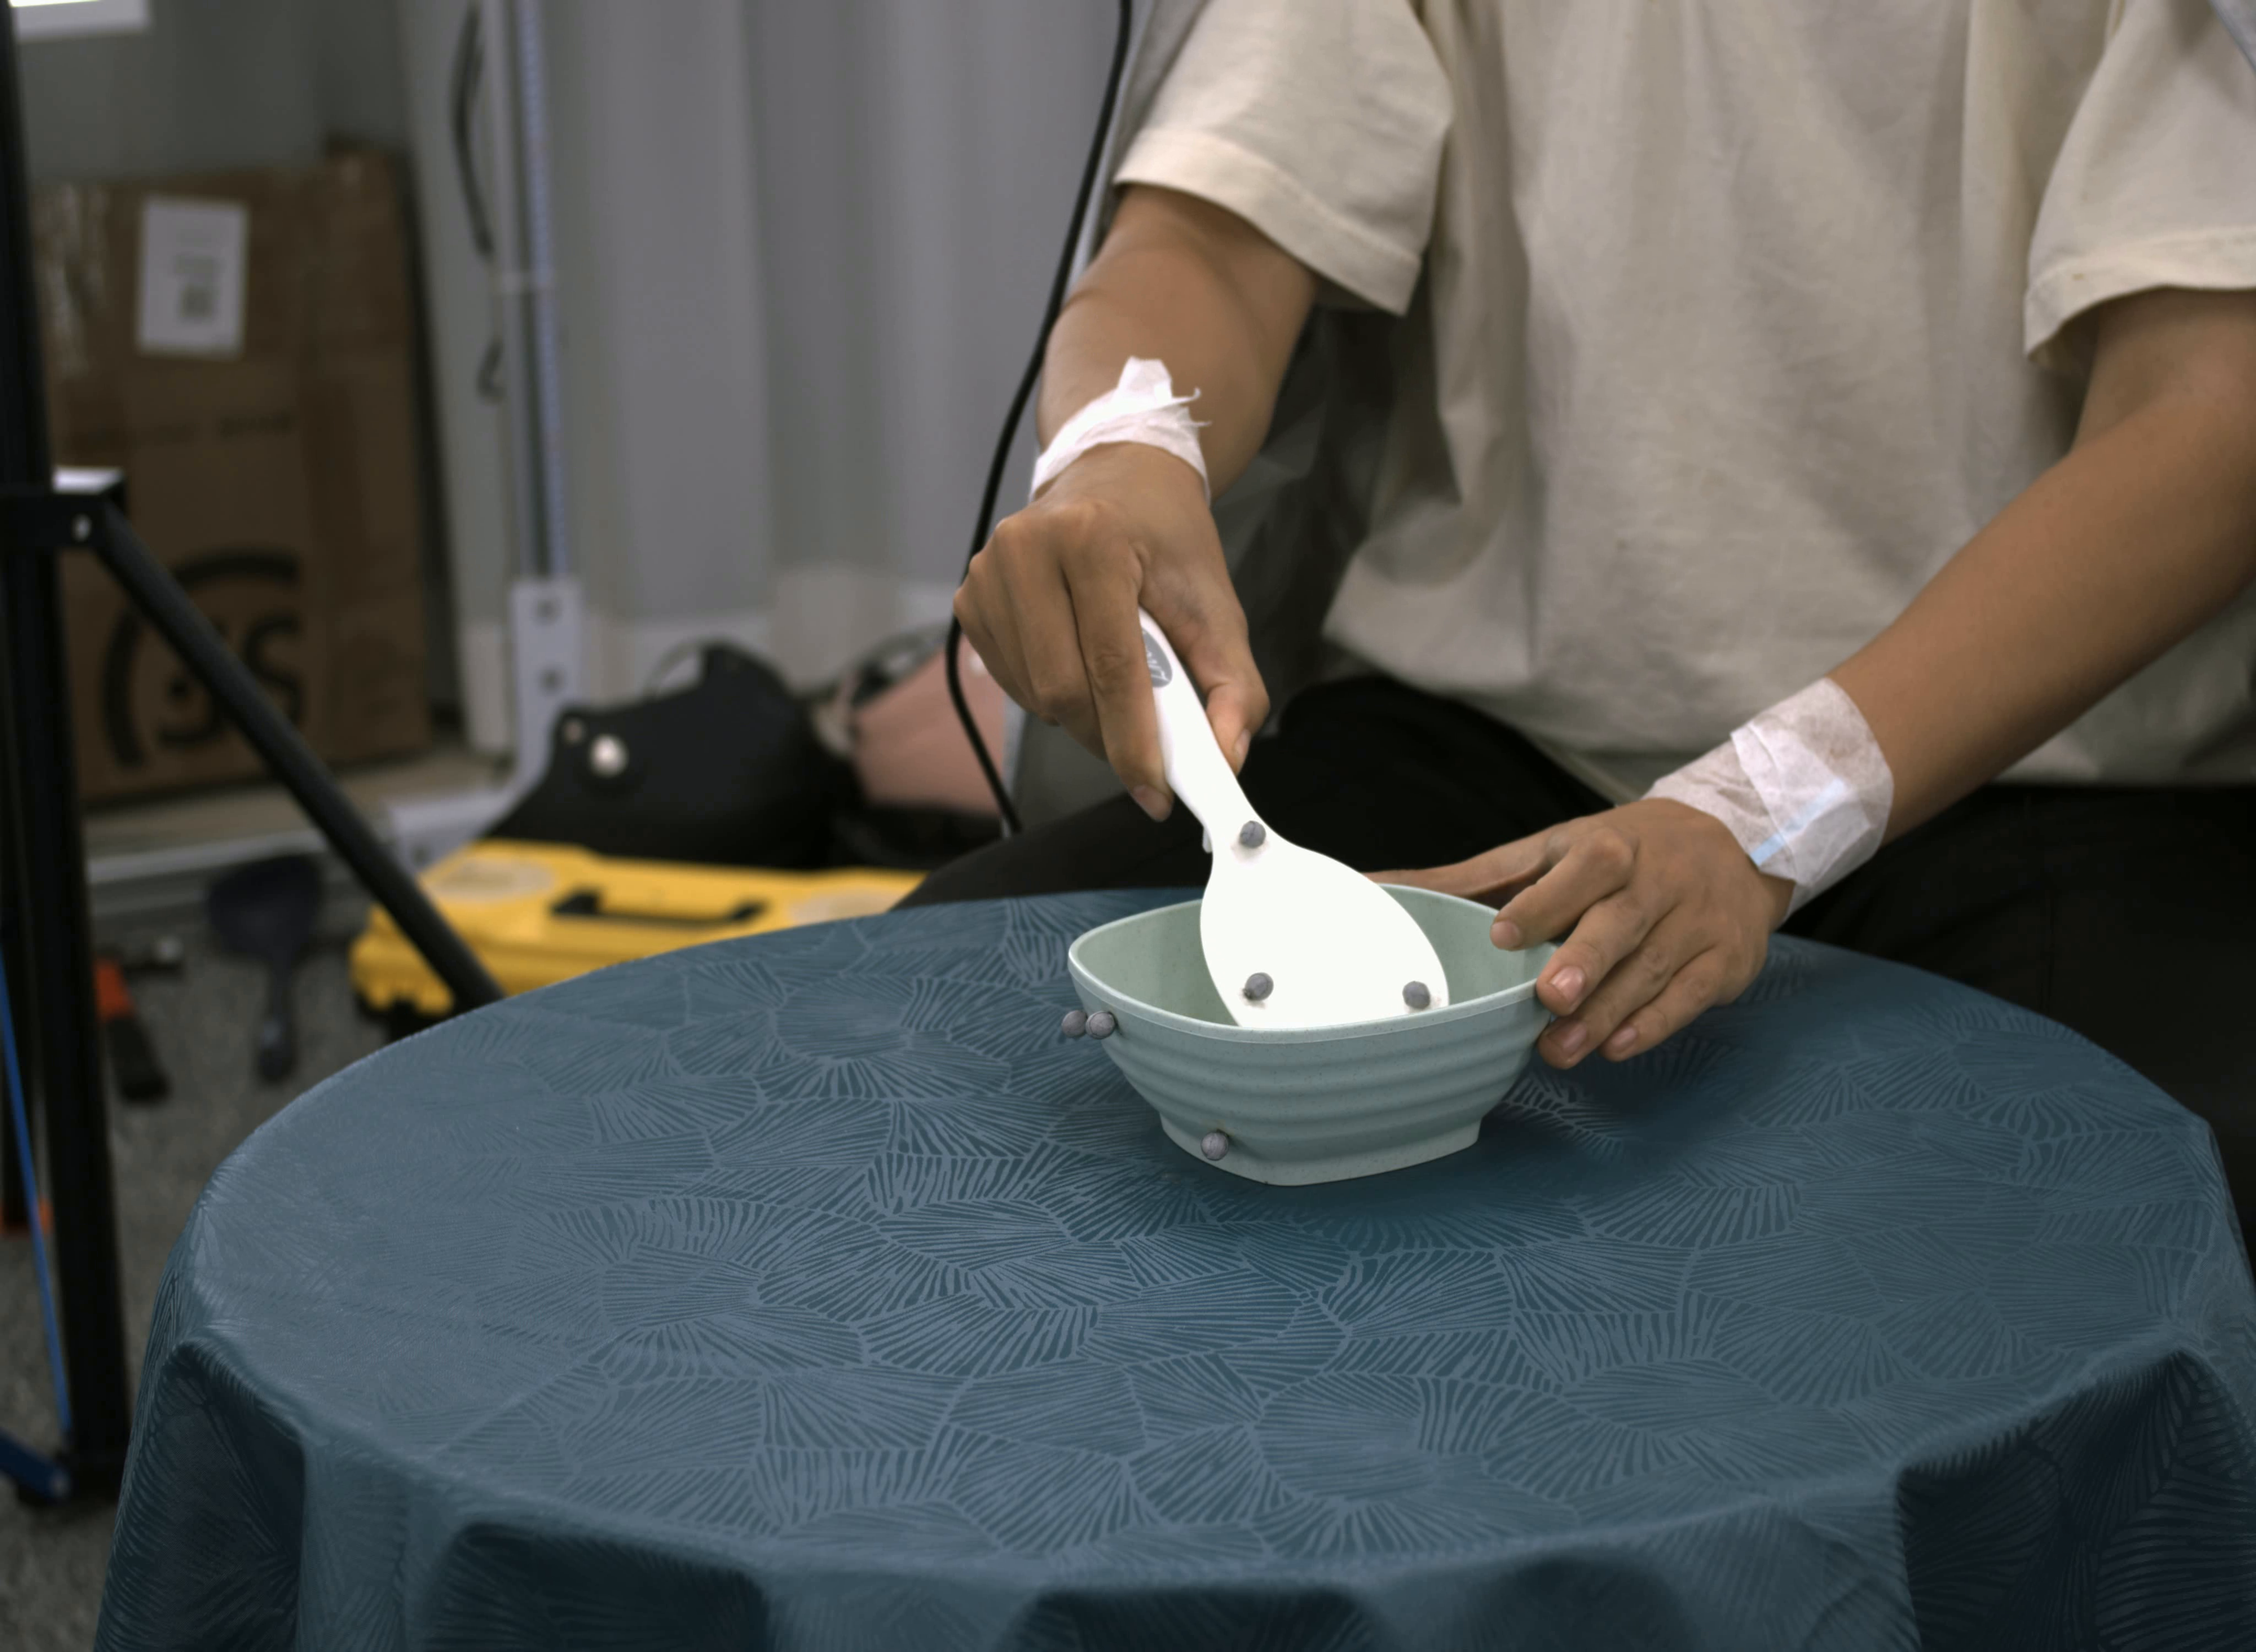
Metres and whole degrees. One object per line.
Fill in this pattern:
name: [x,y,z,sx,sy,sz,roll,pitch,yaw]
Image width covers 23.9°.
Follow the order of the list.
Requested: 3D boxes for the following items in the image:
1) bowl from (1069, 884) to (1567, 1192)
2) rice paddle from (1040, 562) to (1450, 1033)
bowl: [0.058,0.066,1.592,0.151,0.058,0.152,-5,16,0]
rice paddle: [0.034,0.000,1.633,0.068,0.029,0.209,-20,55,-18]
